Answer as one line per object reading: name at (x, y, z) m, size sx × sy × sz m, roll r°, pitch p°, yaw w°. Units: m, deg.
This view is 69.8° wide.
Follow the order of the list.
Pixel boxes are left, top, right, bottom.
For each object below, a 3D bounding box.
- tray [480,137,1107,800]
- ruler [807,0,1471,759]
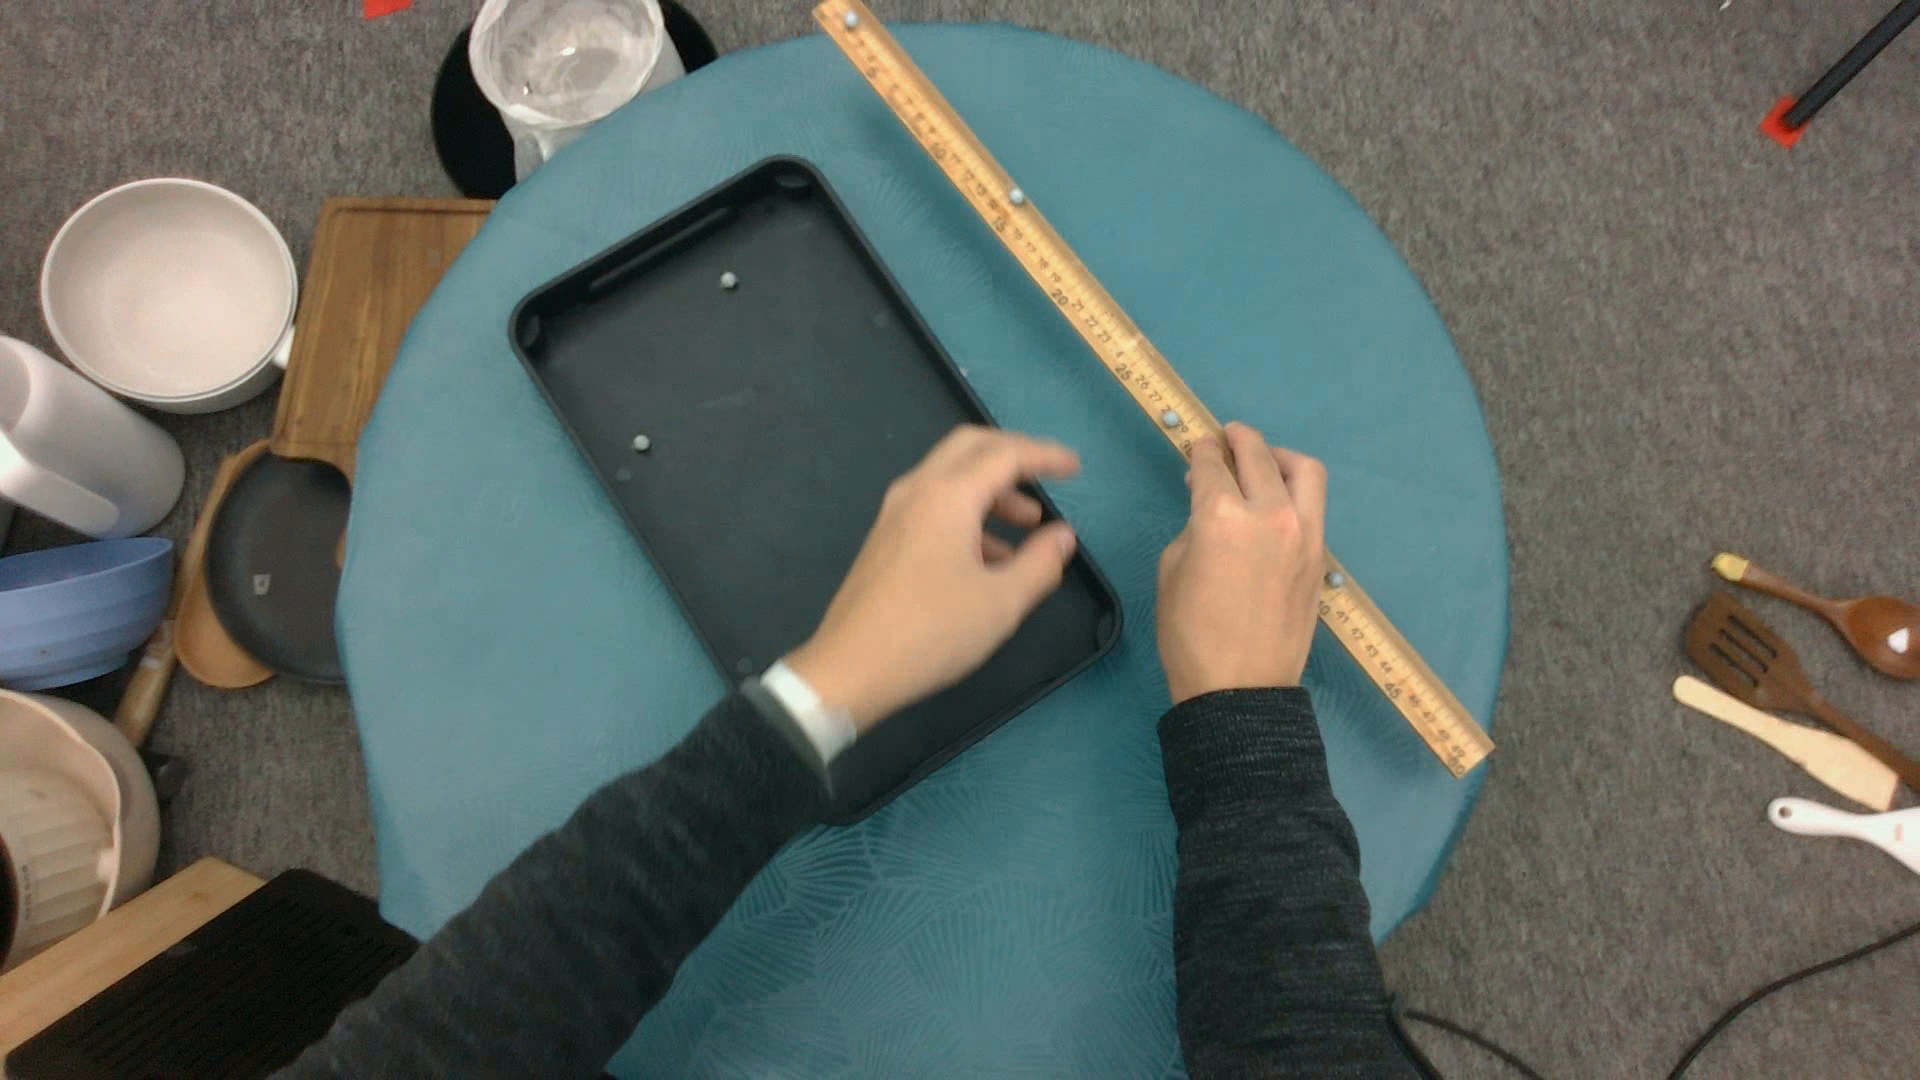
tray at (-0.086, -0.042, 0.700) m, size 0.184 × 0.037 × 0.318 m, roll -34°, pitch 79°, yaw -10°
ruler at (0.080, -0.096, 0.690) m, size 0.027 × 0.006 × 0.501 m, roll -37°, pitch 81°, yaw -9°
